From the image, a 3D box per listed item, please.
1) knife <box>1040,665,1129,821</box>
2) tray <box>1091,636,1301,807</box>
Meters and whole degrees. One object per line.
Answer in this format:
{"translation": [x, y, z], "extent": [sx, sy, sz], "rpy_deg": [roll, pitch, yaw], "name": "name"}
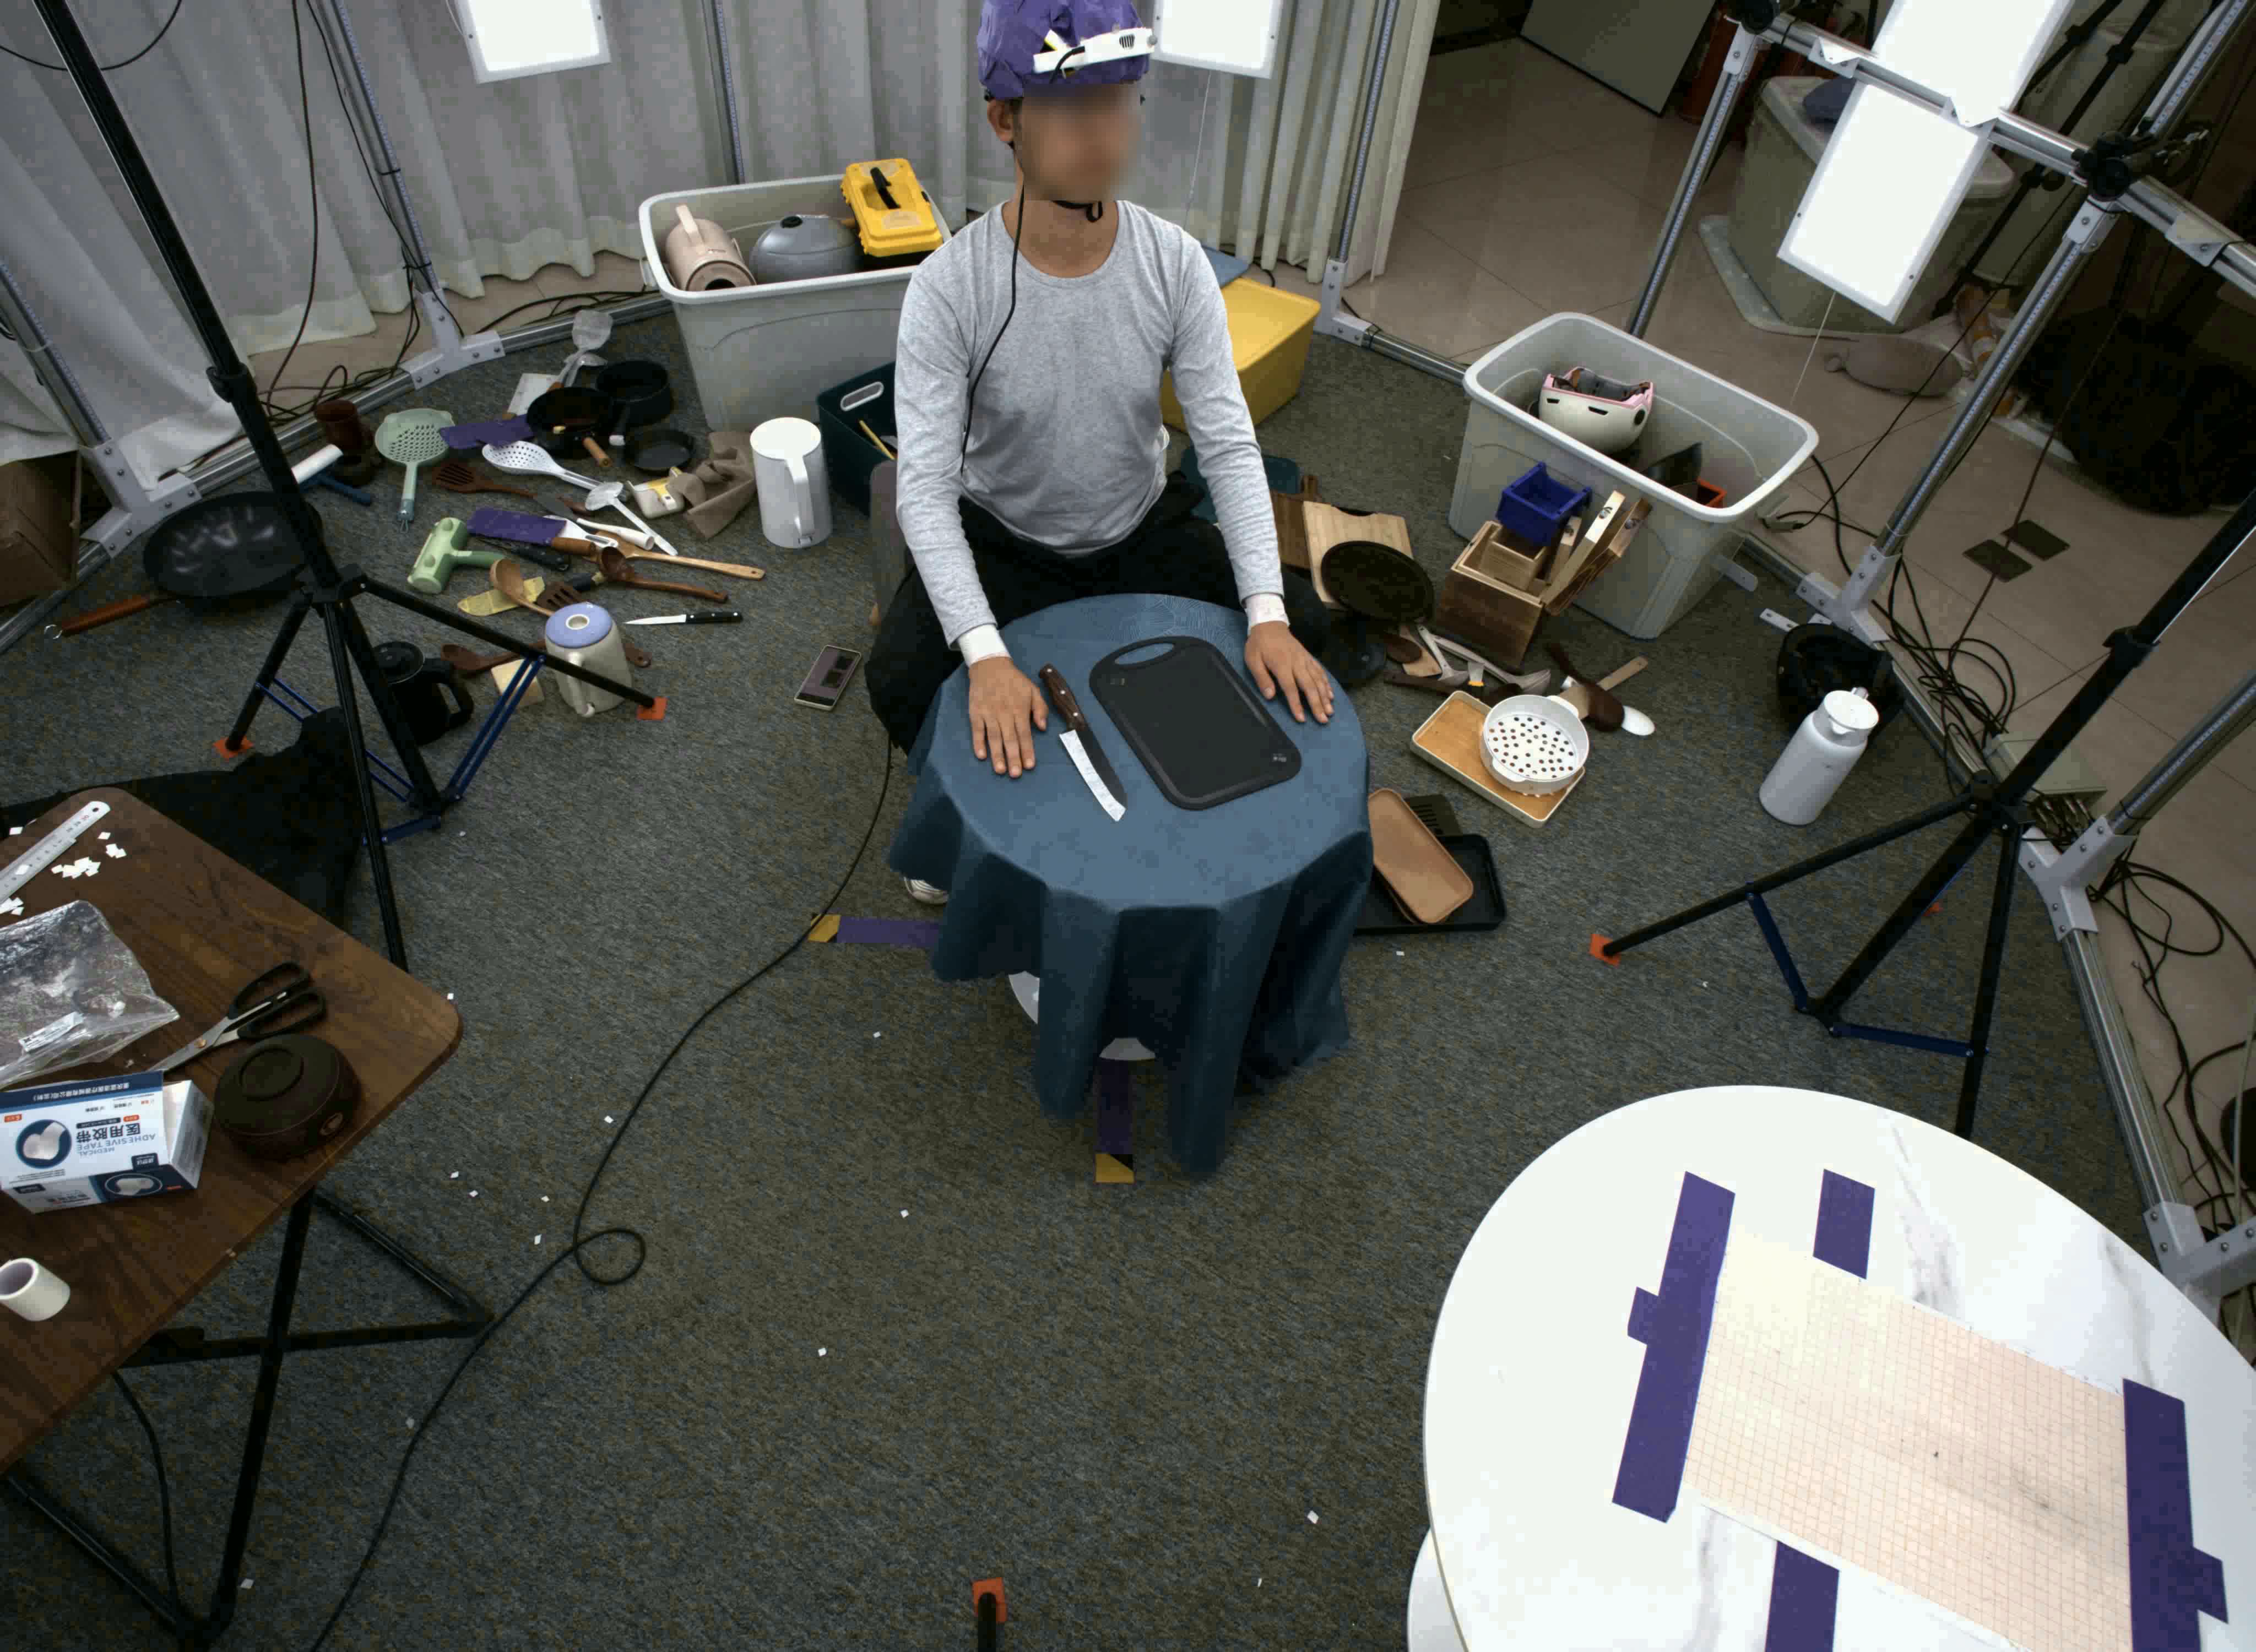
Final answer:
{"translation": [-0.063, -0.116, 1.754], "extent": [0.050, 0.019, 0.296], "rpy_deg": [-18, 55, -12], "name": "knife"}
{"translation": [0.087, -0.159, 1.807], "extent": [0.211, 0.009, 0.333], "rpy_deg": [-18, 52, -19], "name": "tray"}
